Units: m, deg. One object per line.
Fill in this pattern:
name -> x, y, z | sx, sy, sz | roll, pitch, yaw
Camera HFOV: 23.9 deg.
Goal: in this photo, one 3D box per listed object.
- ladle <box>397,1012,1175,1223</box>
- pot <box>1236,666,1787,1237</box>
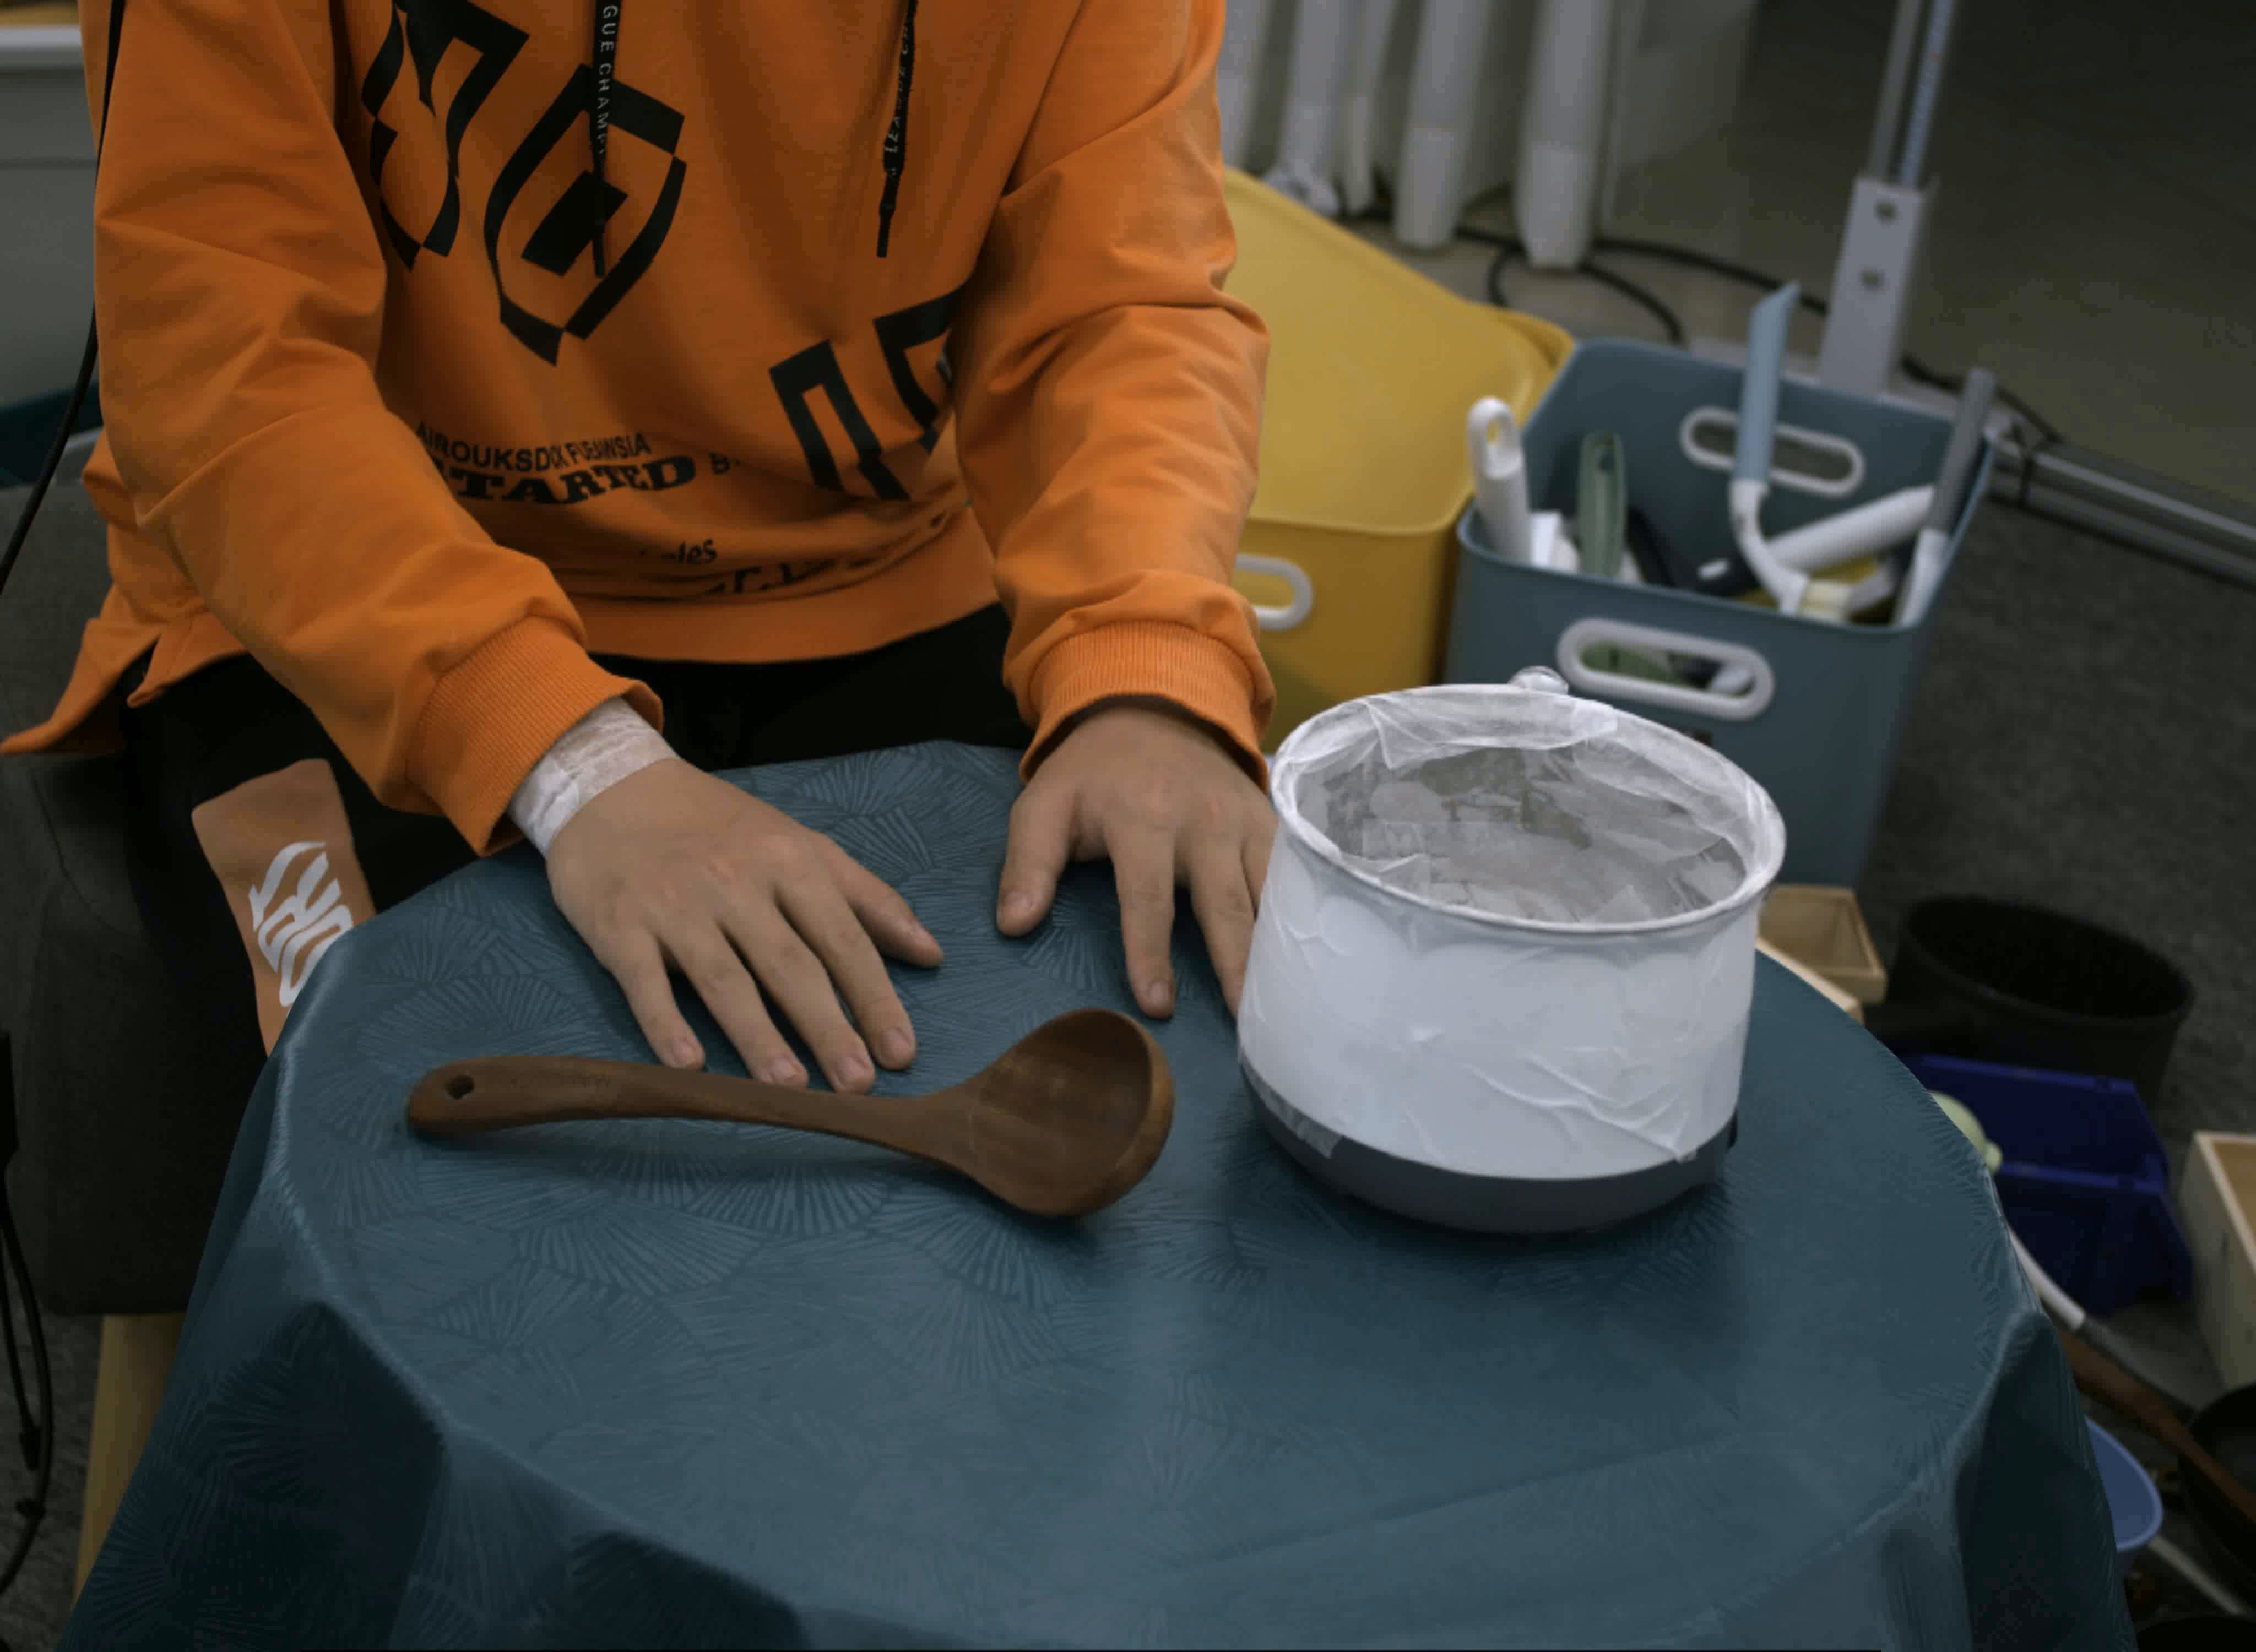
ladle -> -0.114, 0.090, 1.778 | 0.259, 0.065, 0.077 | 6, 52, -3
pot -> 0.131, 0.036, 1.854 | 0.178, 0.136, 0.235 | 8, 27, 2
